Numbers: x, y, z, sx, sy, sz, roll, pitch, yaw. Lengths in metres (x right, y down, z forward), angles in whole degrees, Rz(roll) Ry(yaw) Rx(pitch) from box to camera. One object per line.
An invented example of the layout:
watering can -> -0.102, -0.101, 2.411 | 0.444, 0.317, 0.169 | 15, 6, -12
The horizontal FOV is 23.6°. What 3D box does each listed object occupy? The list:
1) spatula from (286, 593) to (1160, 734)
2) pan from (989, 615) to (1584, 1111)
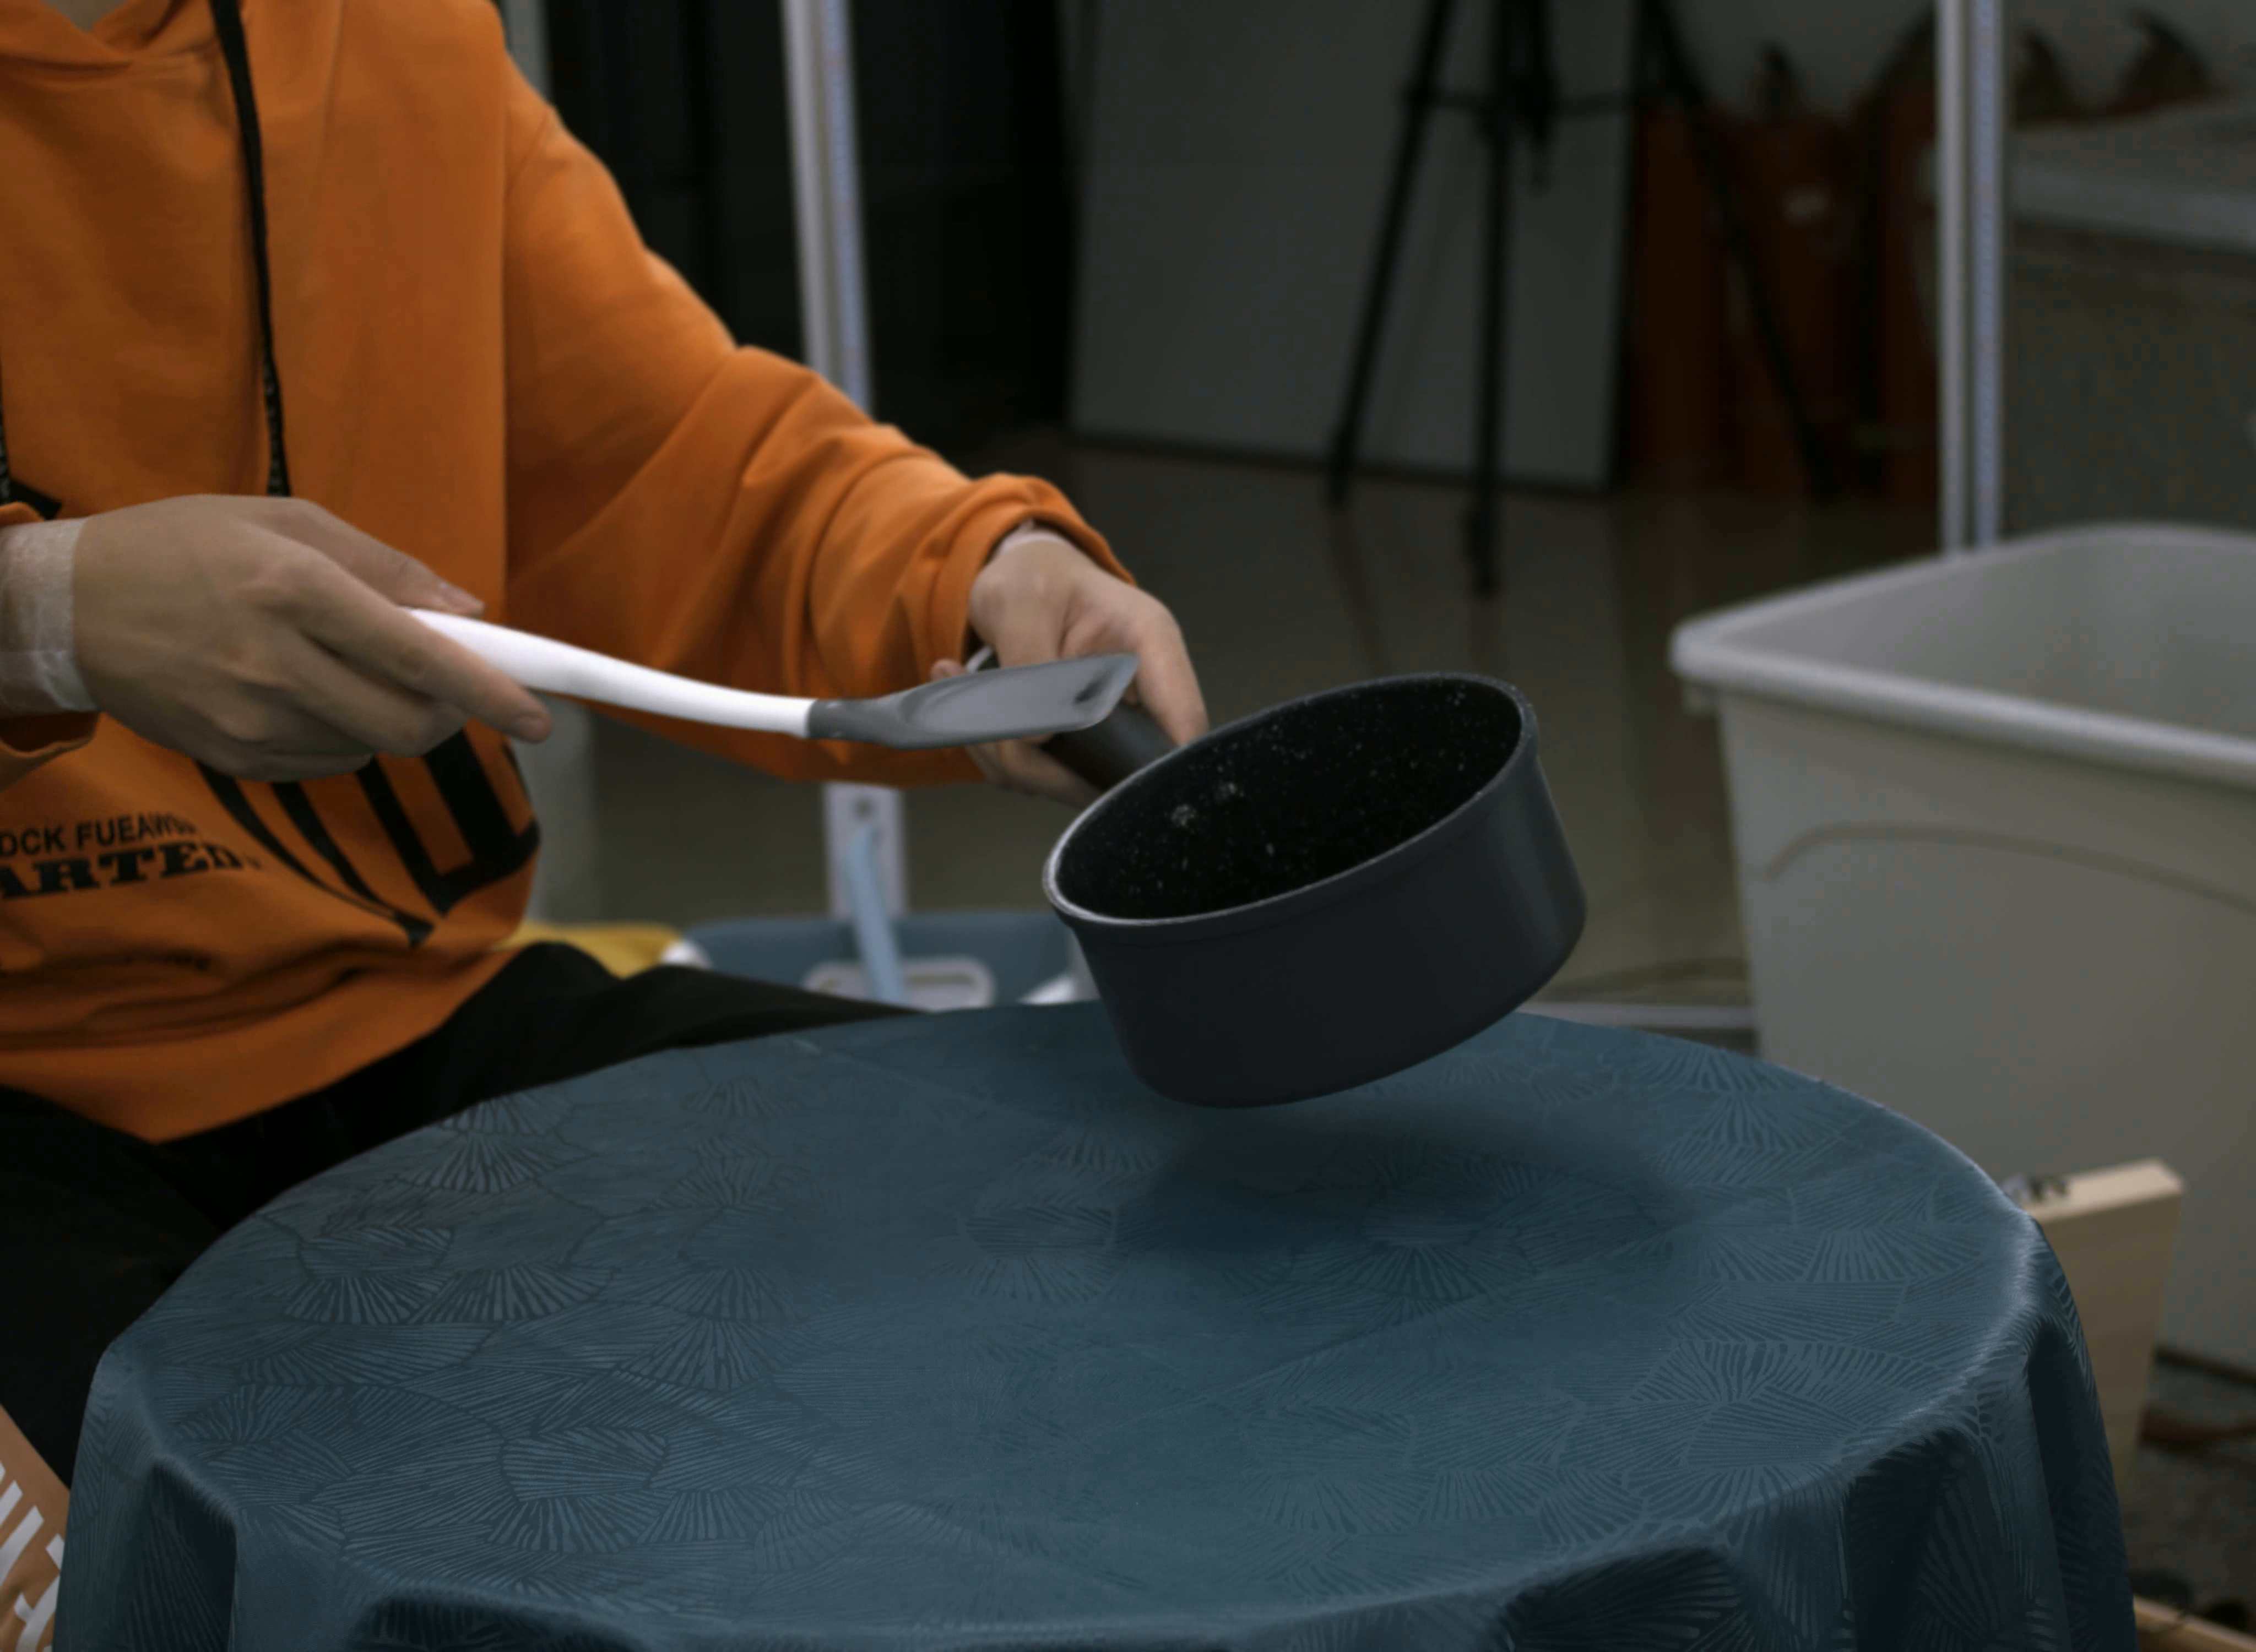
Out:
spatula -> -0.130, -0.050, 1.712 | 0.286, 0.032, 0.058 | 4, 23, 17
pan -> 0.032, 0.001, 1.836 | 0.169, 0.087, 0.332 | -27, 21, -14
